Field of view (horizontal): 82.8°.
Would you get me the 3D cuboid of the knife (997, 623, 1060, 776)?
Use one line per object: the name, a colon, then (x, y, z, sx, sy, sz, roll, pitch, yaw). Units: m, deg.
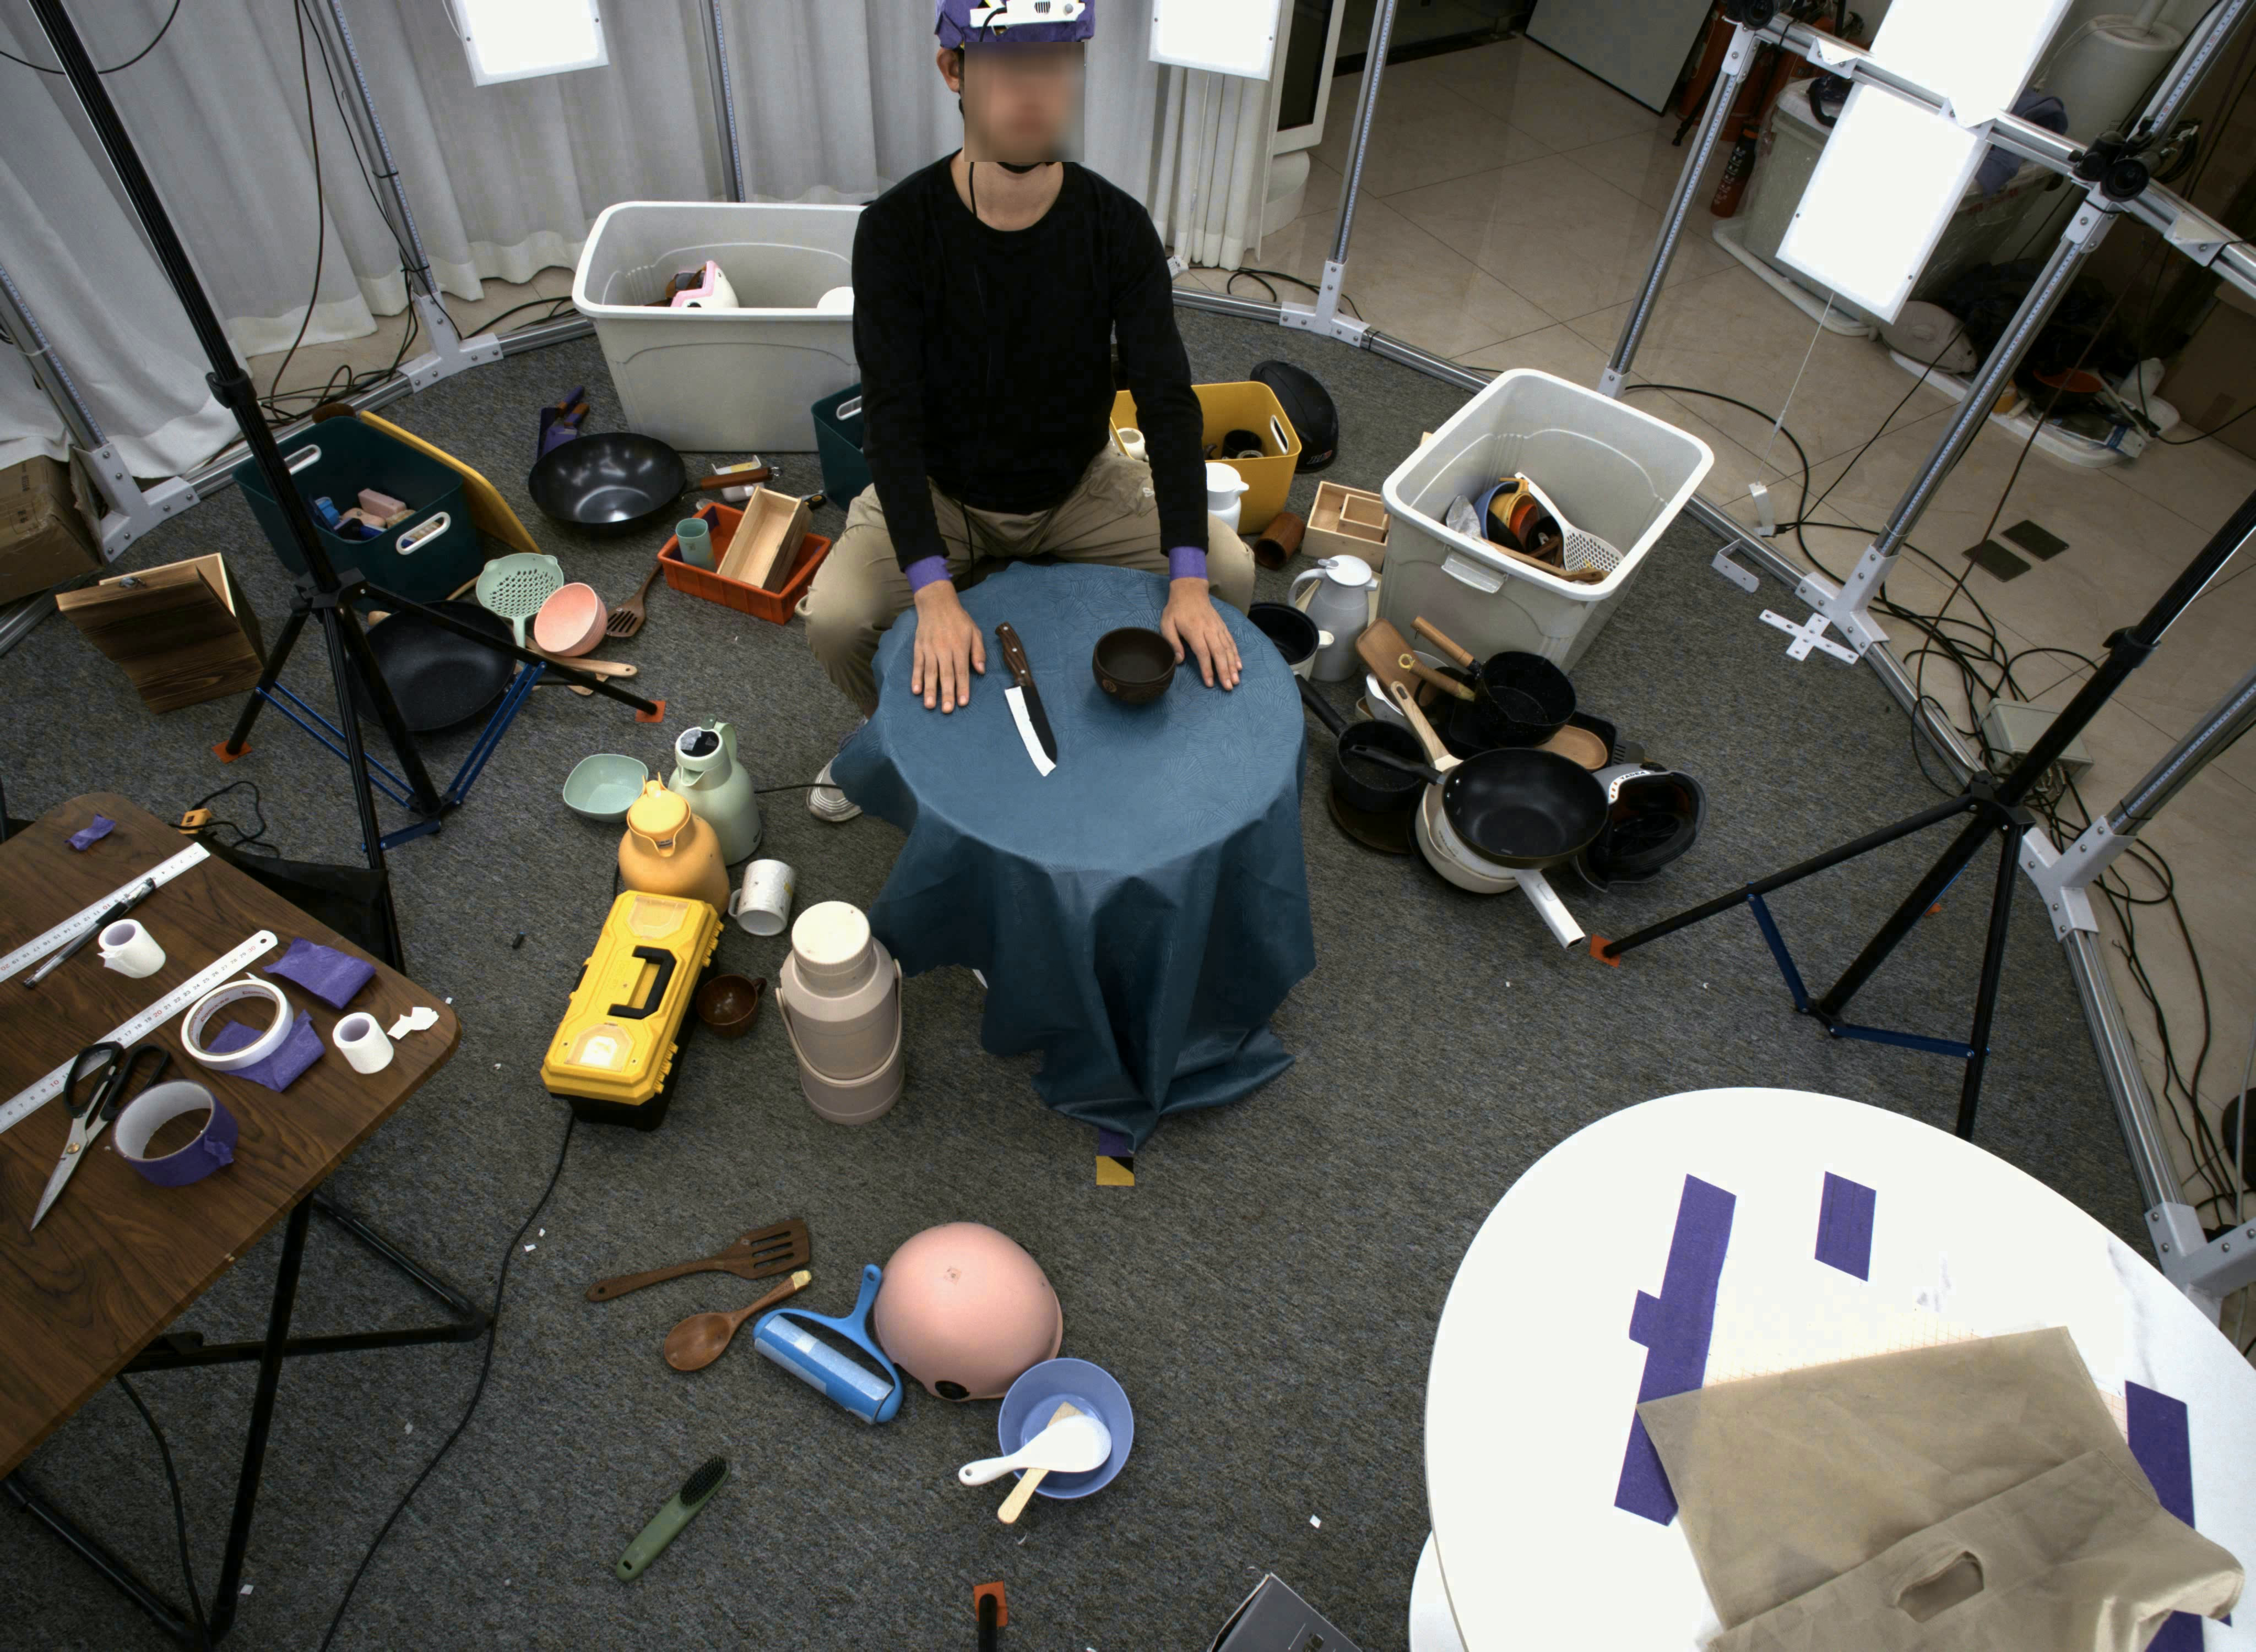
knife: (-0.143, -0.181, 1.808, 0.050, 0.019, 0.296, -12, 53, -8)

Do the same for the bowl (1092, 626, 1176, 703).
bowl: (0.008, -0.220, 1.813, 0.118, 0.068, 0.121, 2, 48, -2)
